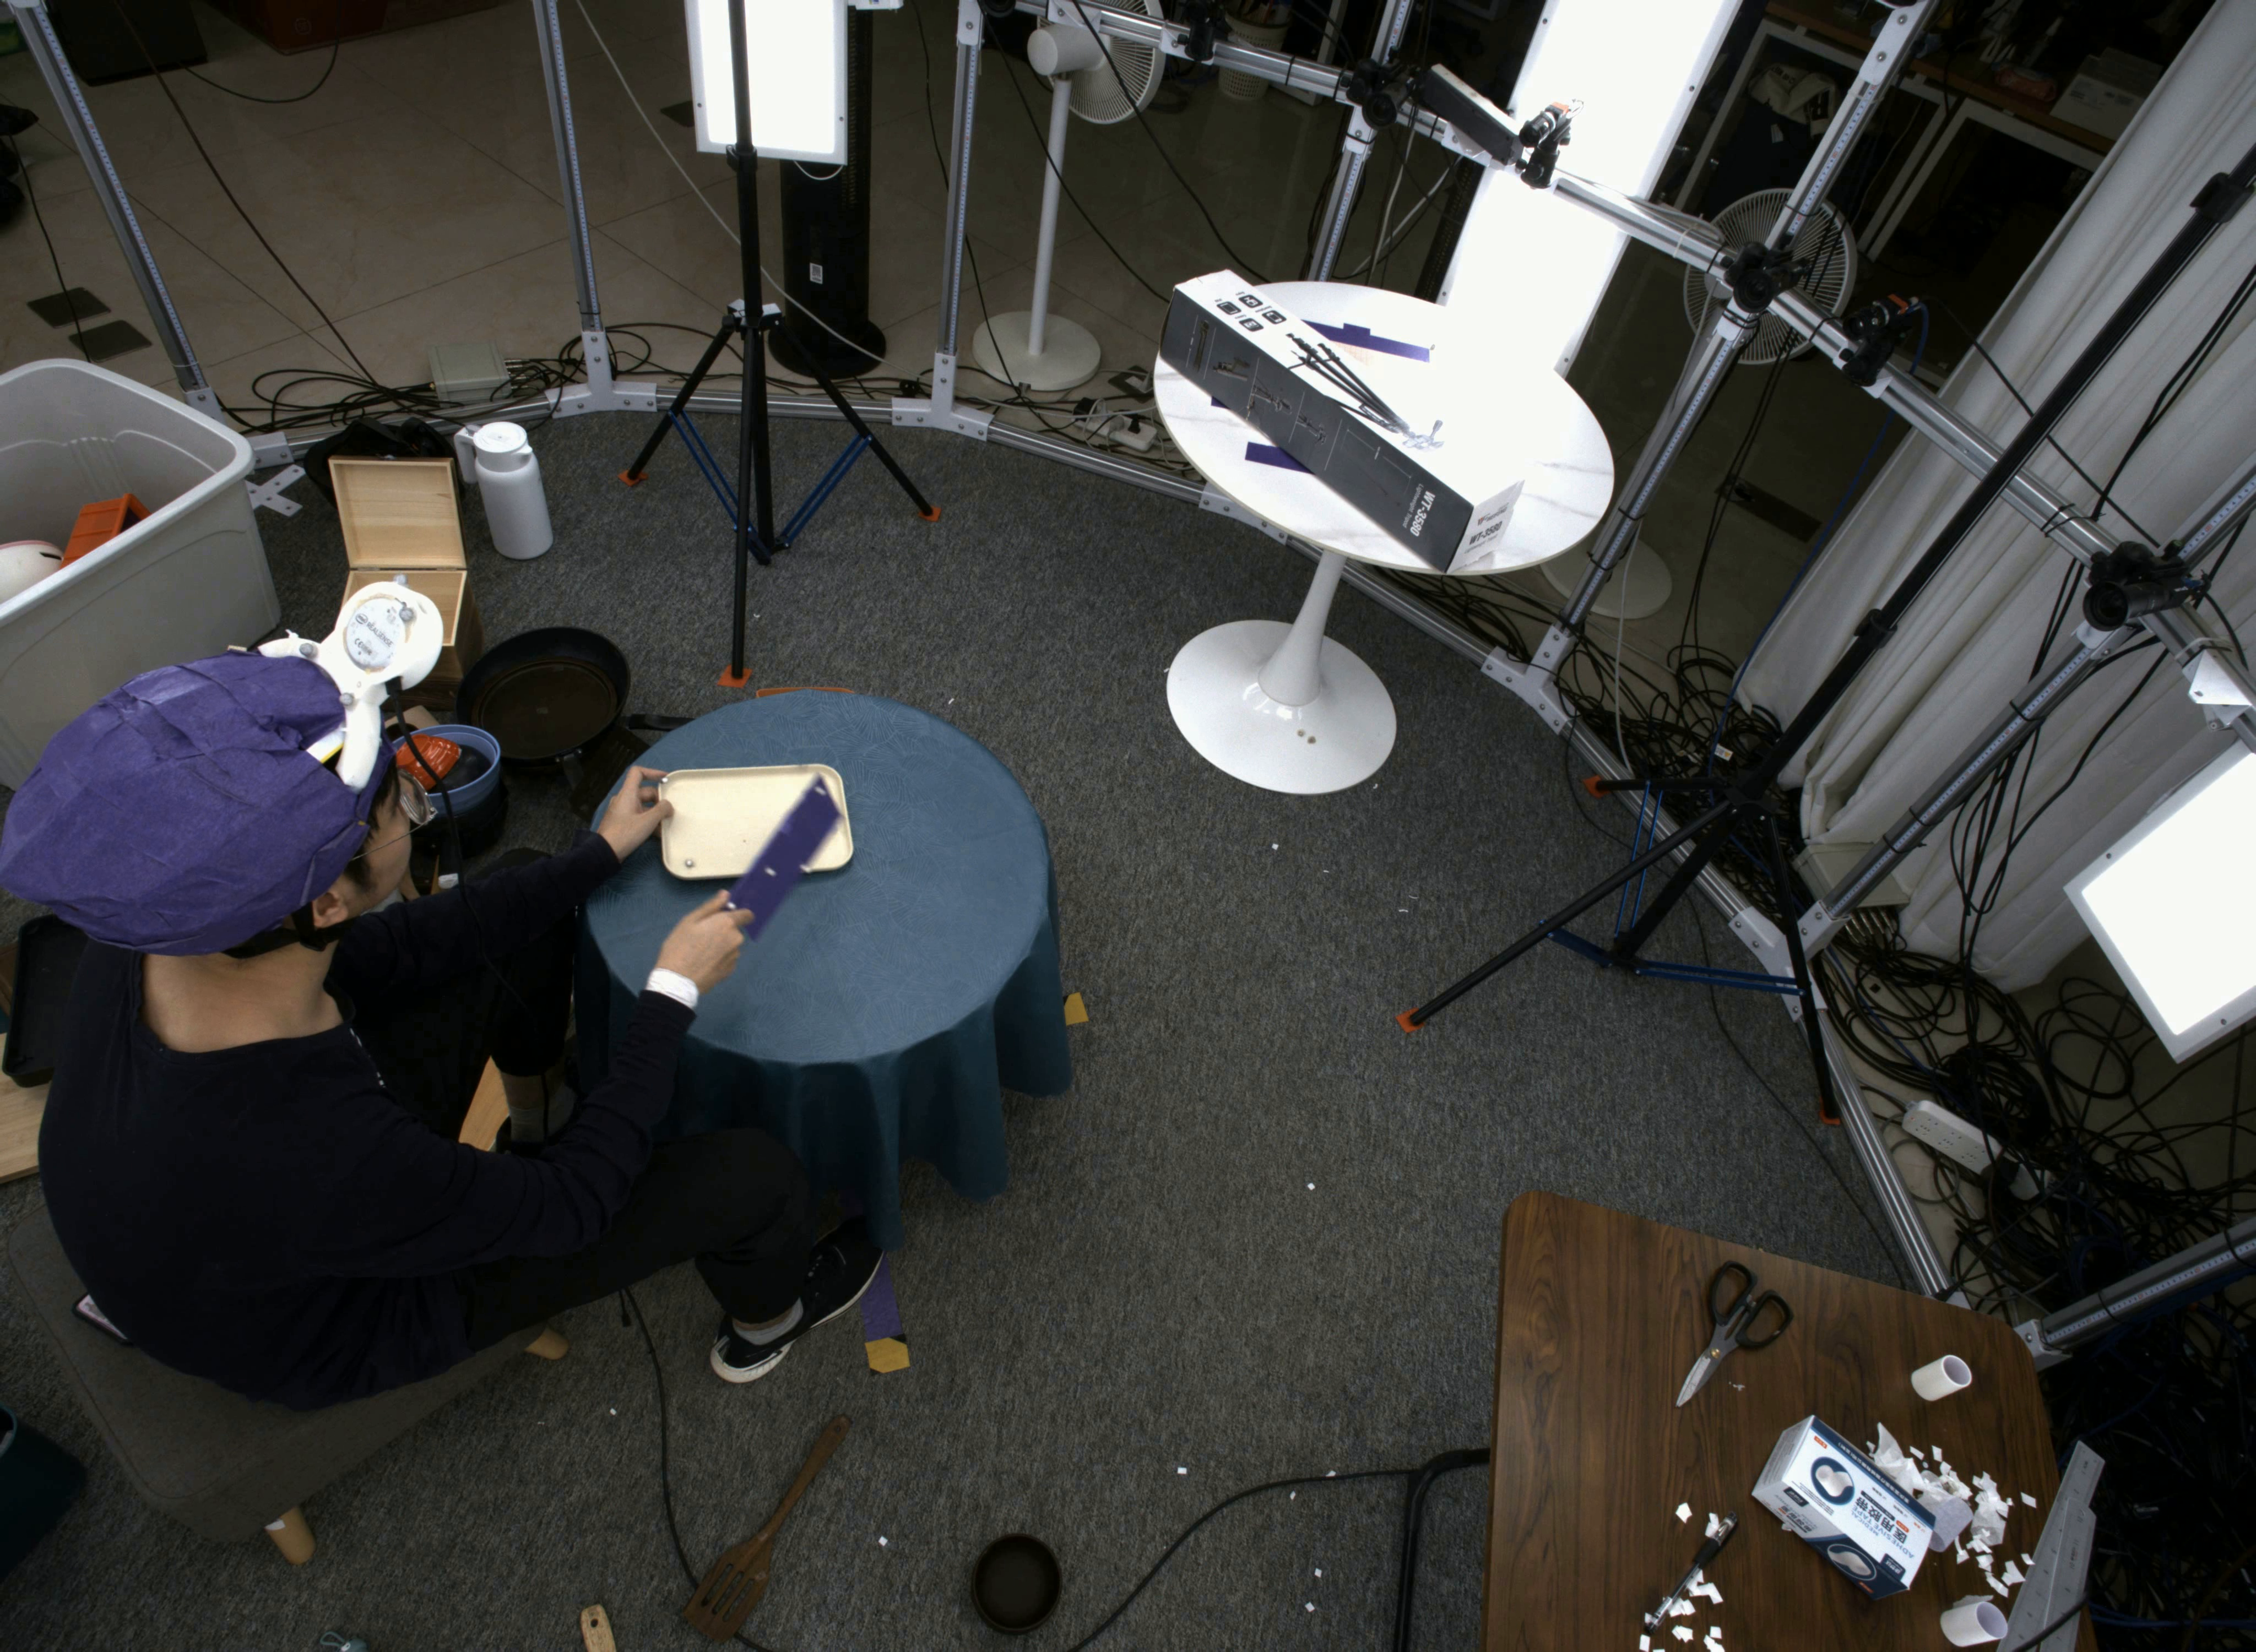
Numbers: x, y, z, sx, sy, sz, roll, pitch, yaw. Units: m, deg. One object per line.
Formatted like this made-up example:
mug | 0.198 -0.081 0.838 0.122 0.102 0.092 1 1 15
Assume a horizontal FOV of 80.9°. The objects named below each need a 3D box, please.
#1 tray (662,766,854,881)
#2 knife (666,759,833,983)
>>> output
tray | -0.487 -0.004 1.699 0.241 0.018 0.168 -2 58 -21
knife | -0.442 0.067 1.551 0.031 0.107 0.313 16 57 21
